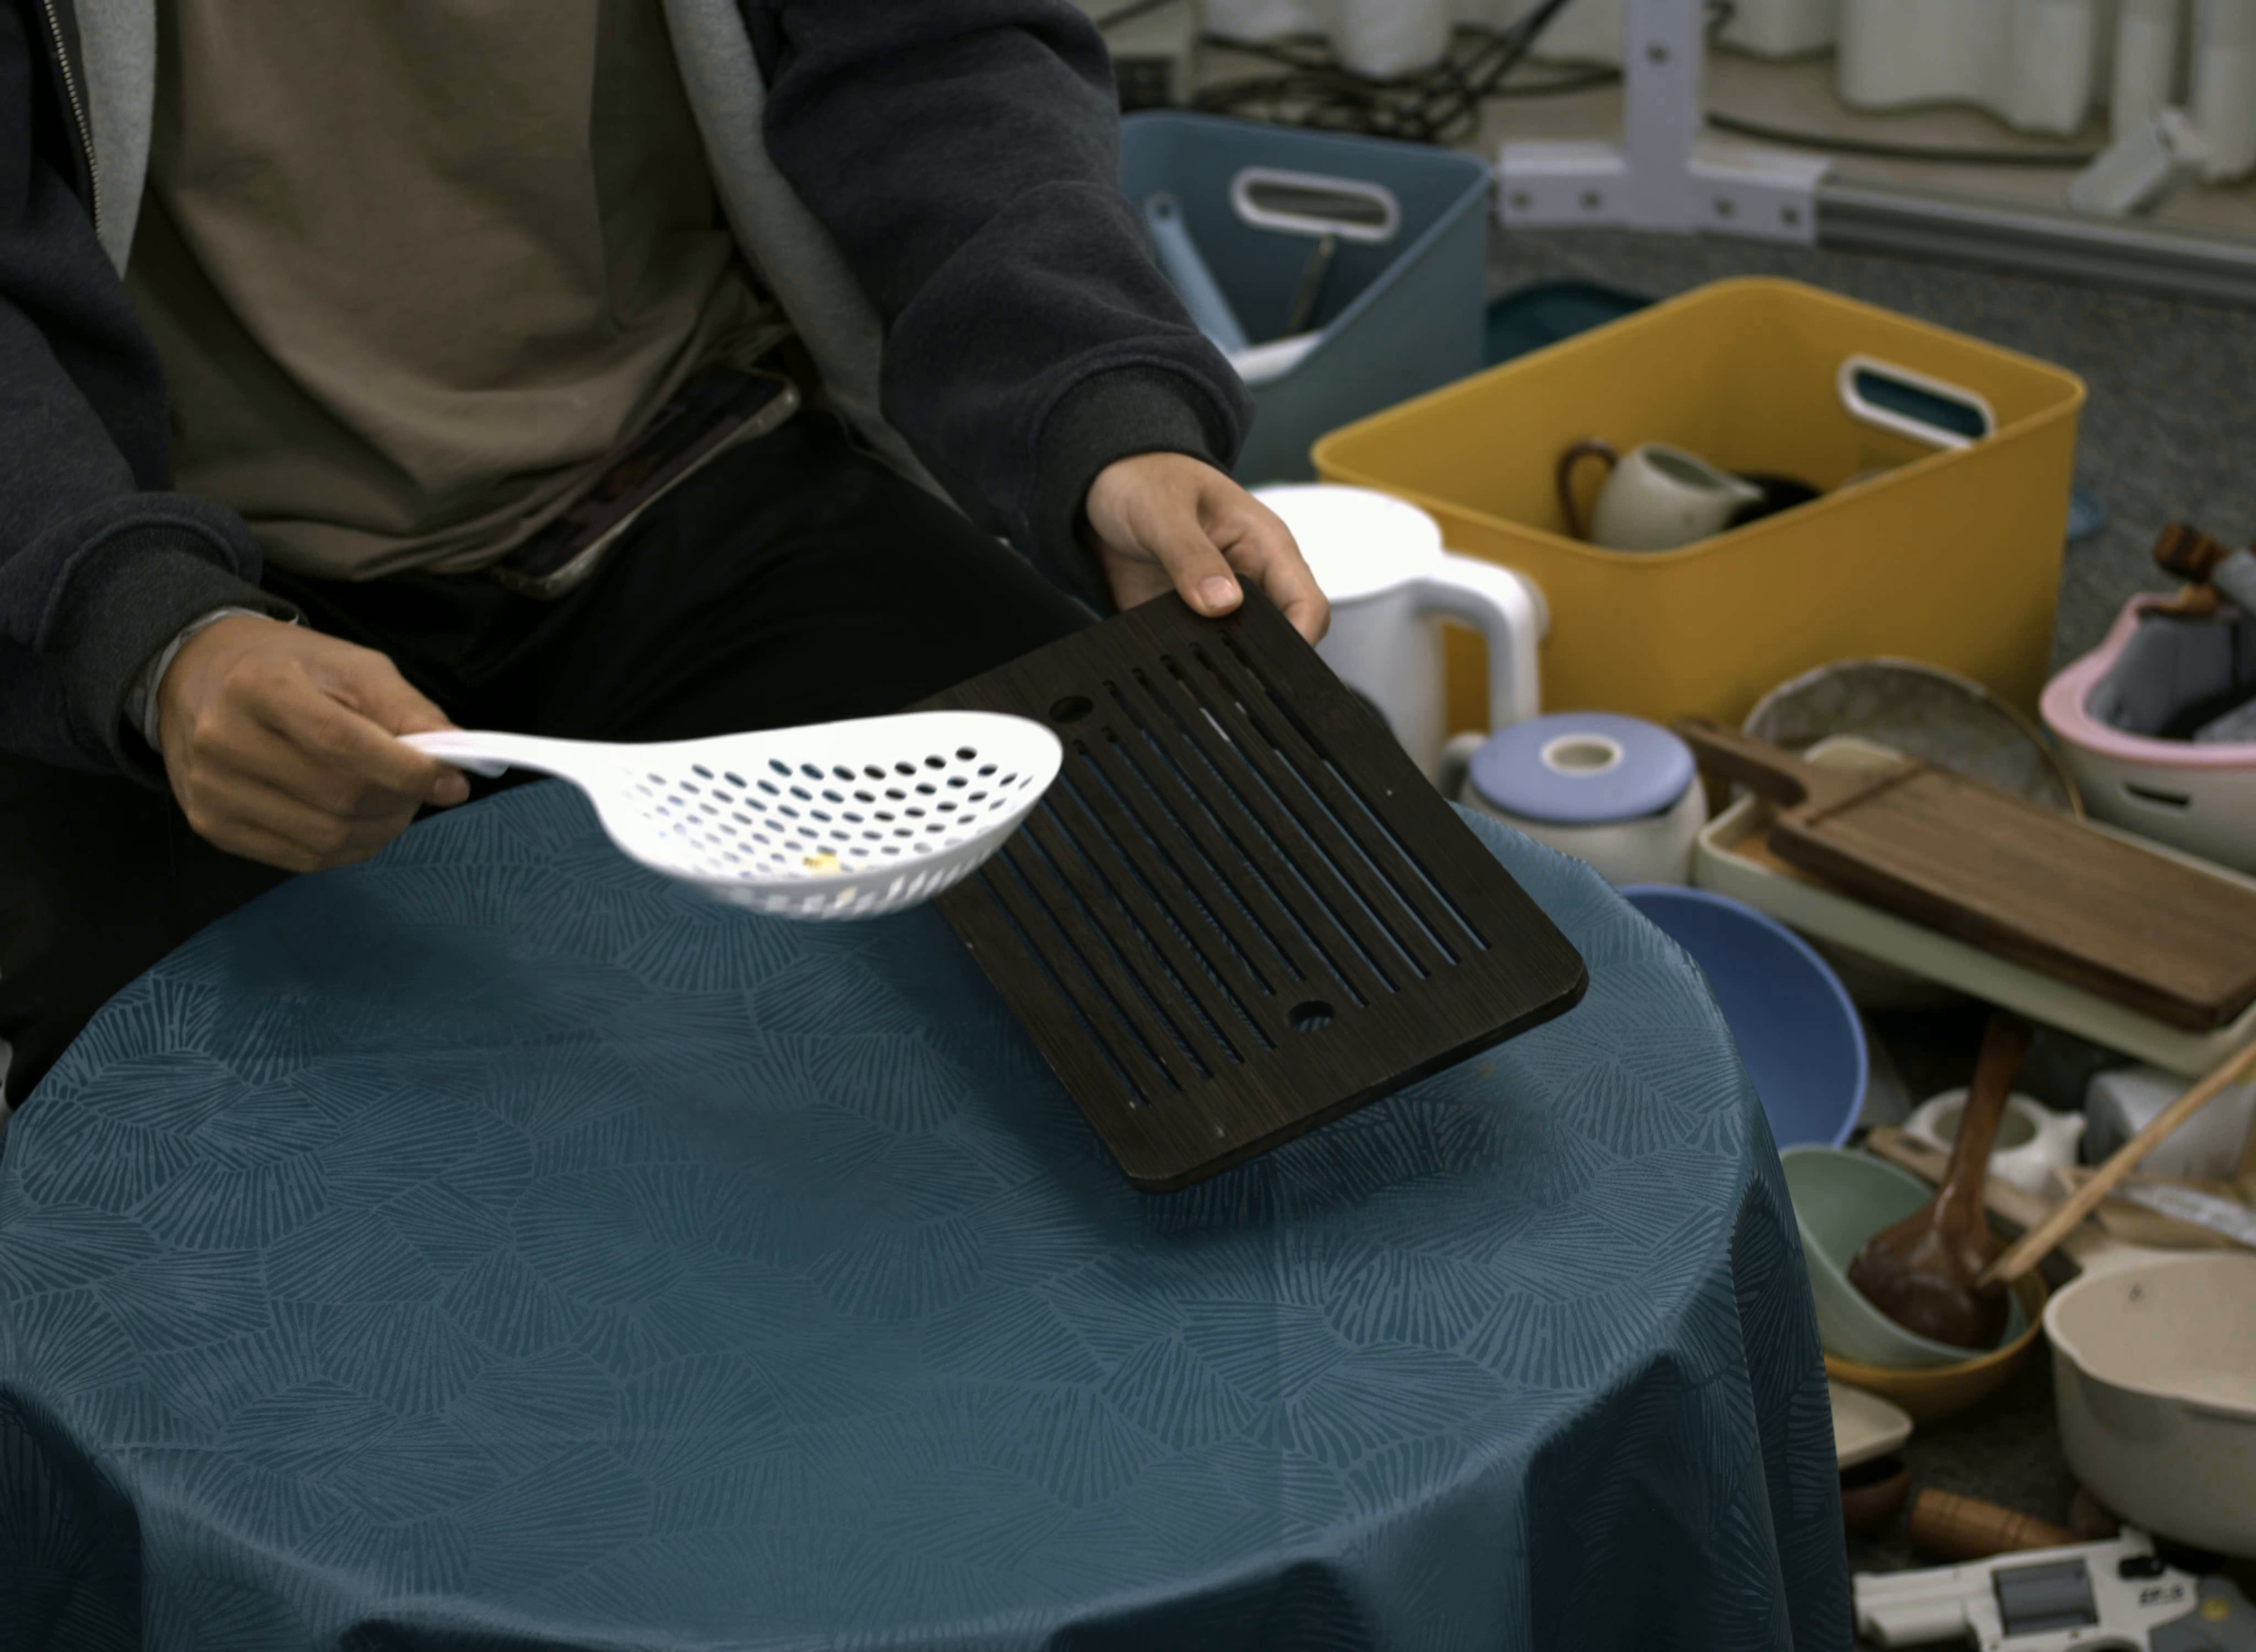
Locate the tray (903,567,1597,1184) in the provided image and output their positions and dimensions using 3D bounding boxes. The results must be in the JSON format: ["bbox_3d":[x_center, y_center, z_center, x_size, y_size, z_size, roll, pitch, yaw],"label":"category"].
[{"bbox_3d":[0.026,0.013,1.950,0.170,0.018,0.309,-23,36,-11],"label":"tray"}]

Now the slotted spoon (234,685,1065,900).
[{"bbox_3d":[-0.173,-0.014,1.899,0.345,0.050,0.139,9,28,35],"label":"slotted spoon"}]
